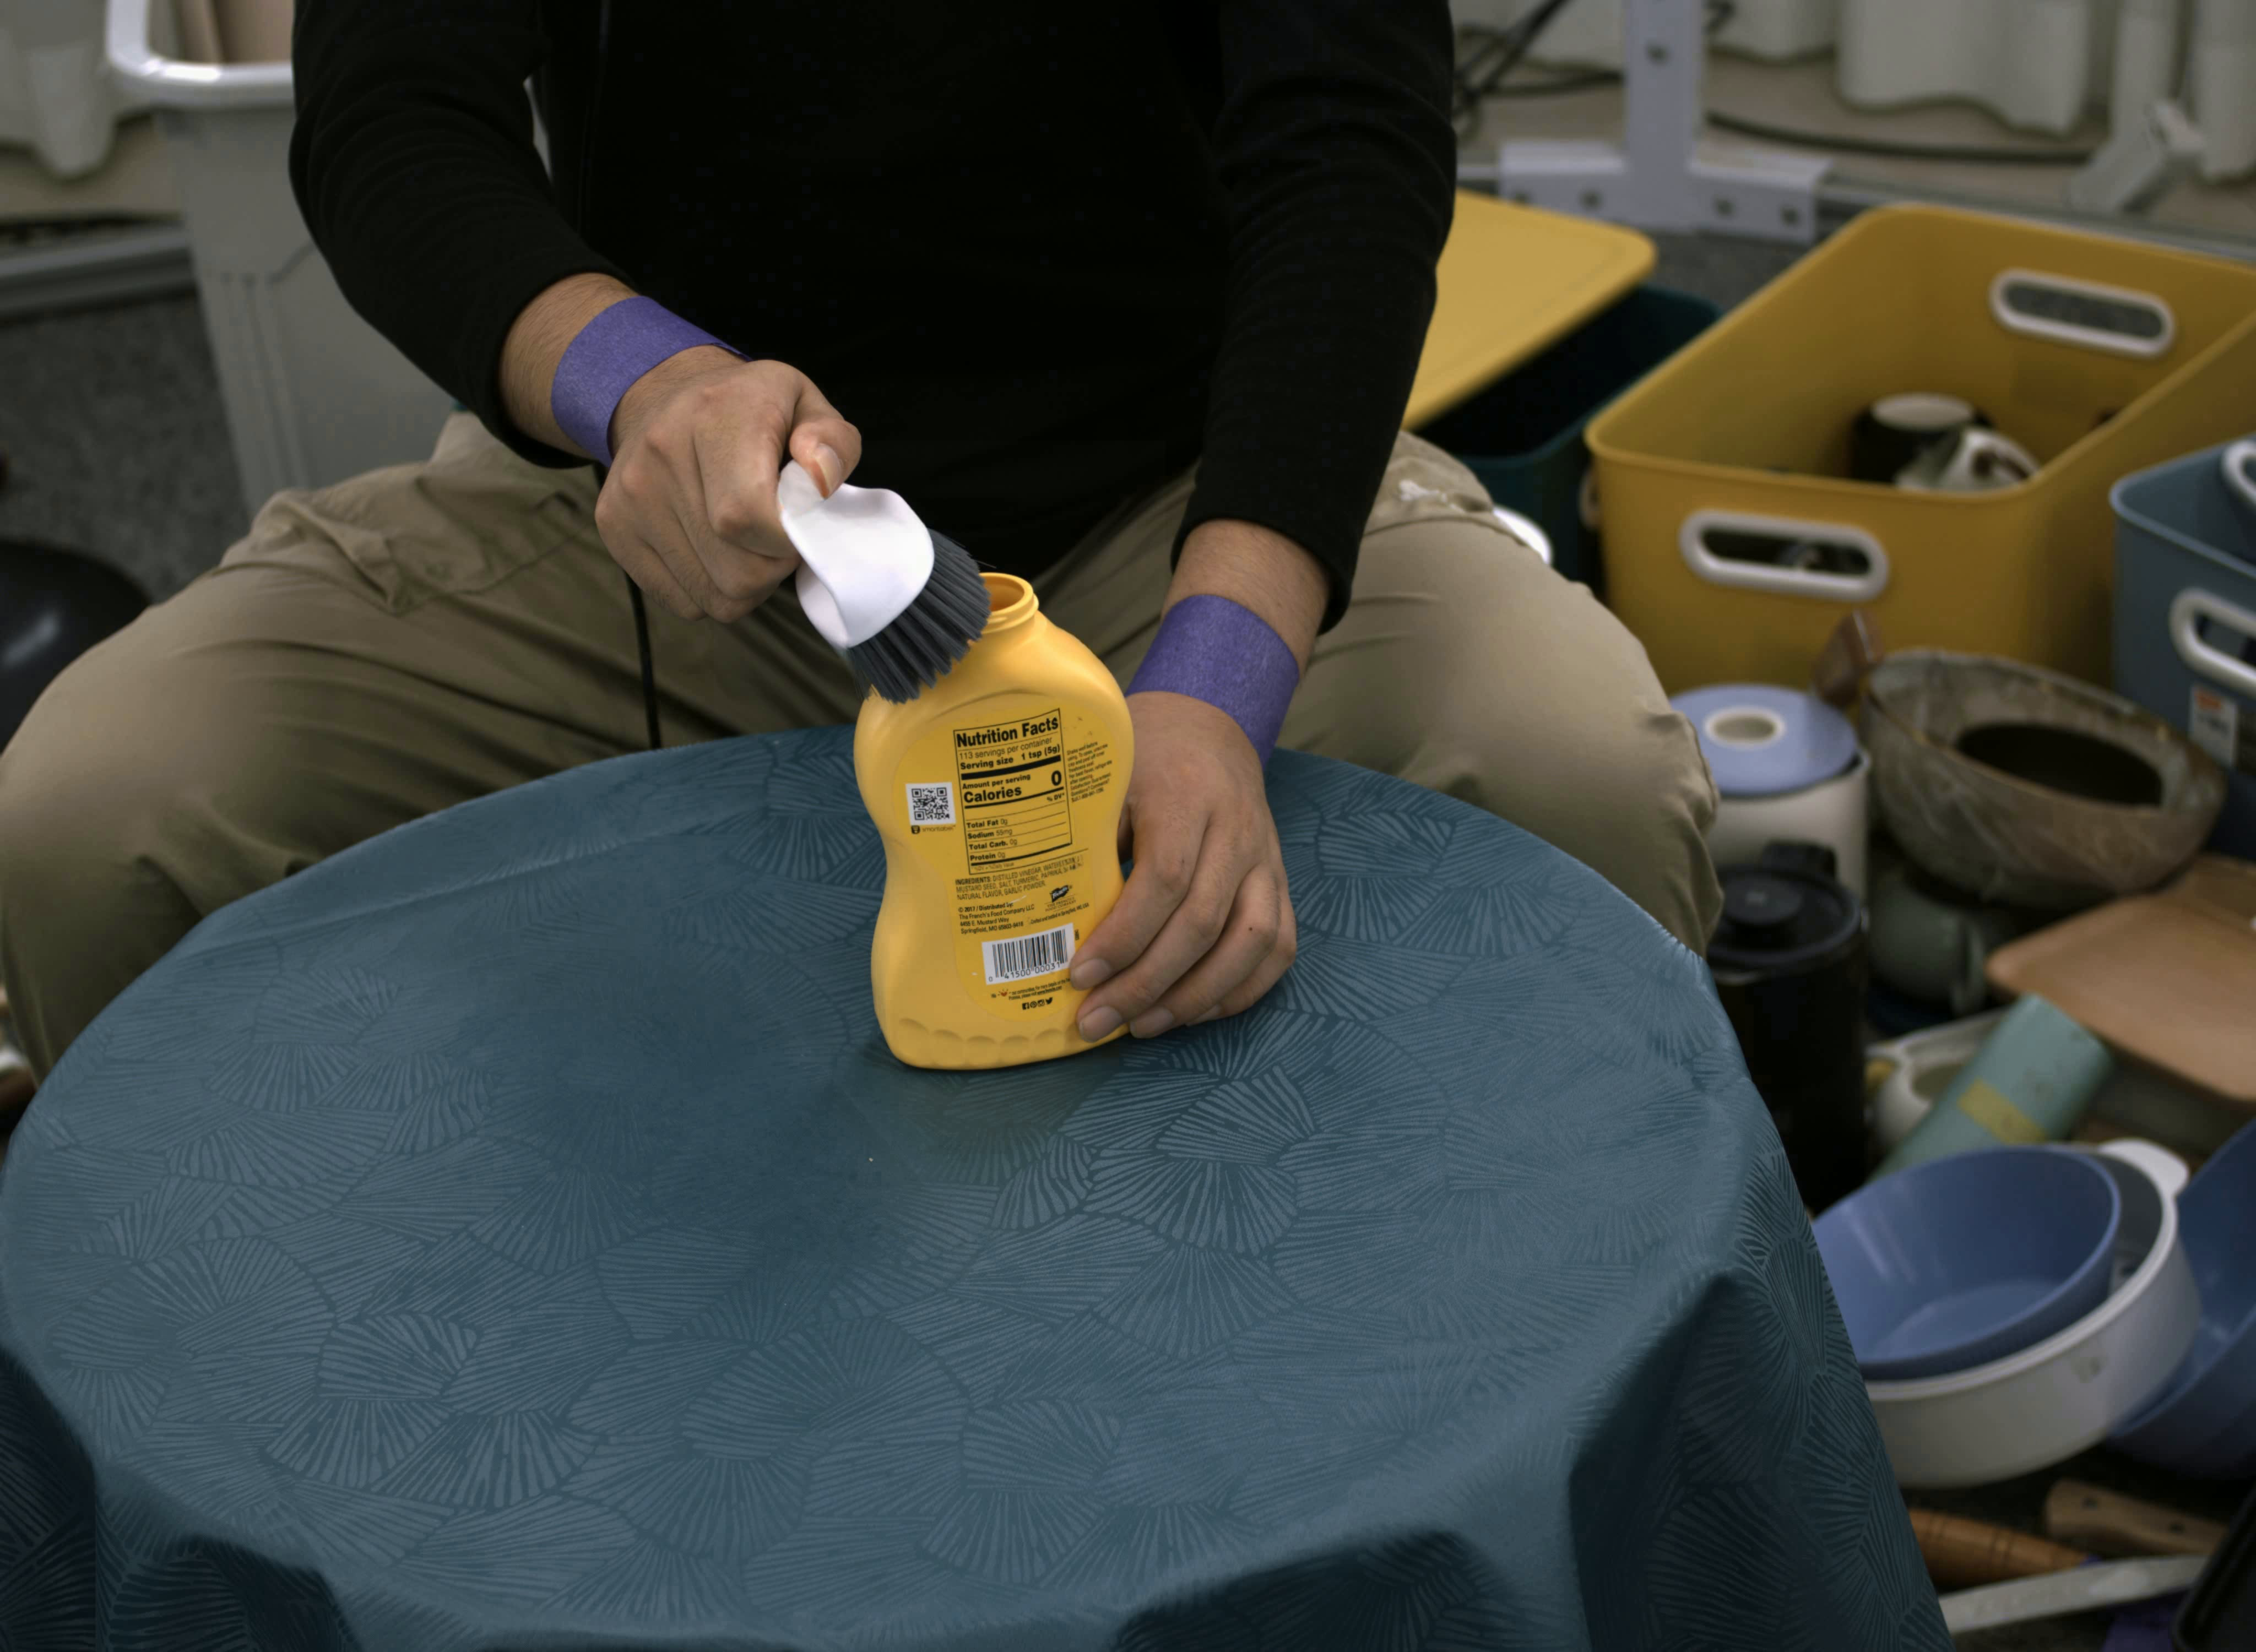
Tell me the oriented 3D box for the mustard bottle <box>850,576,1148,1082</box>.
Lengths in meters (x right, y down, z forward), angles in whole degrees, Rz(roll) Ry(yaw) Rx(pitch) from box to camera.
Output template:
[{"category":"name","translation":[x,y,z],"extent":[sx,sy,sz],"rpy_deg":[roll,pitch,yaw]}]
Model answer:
[{"category":"mustard bottle","translation":[-0.046,-0.001,1.922],"extent":[0.098,0.170,0.060],"rpy_deg":[-12,24,-14]}]

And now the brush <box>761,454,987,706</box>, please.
[{"category":"brush","translation":[-0.091,-0.090,1.866],"extent":[0.050,0.072,0.100],"rpy_deg":[-42,22,7]}]
